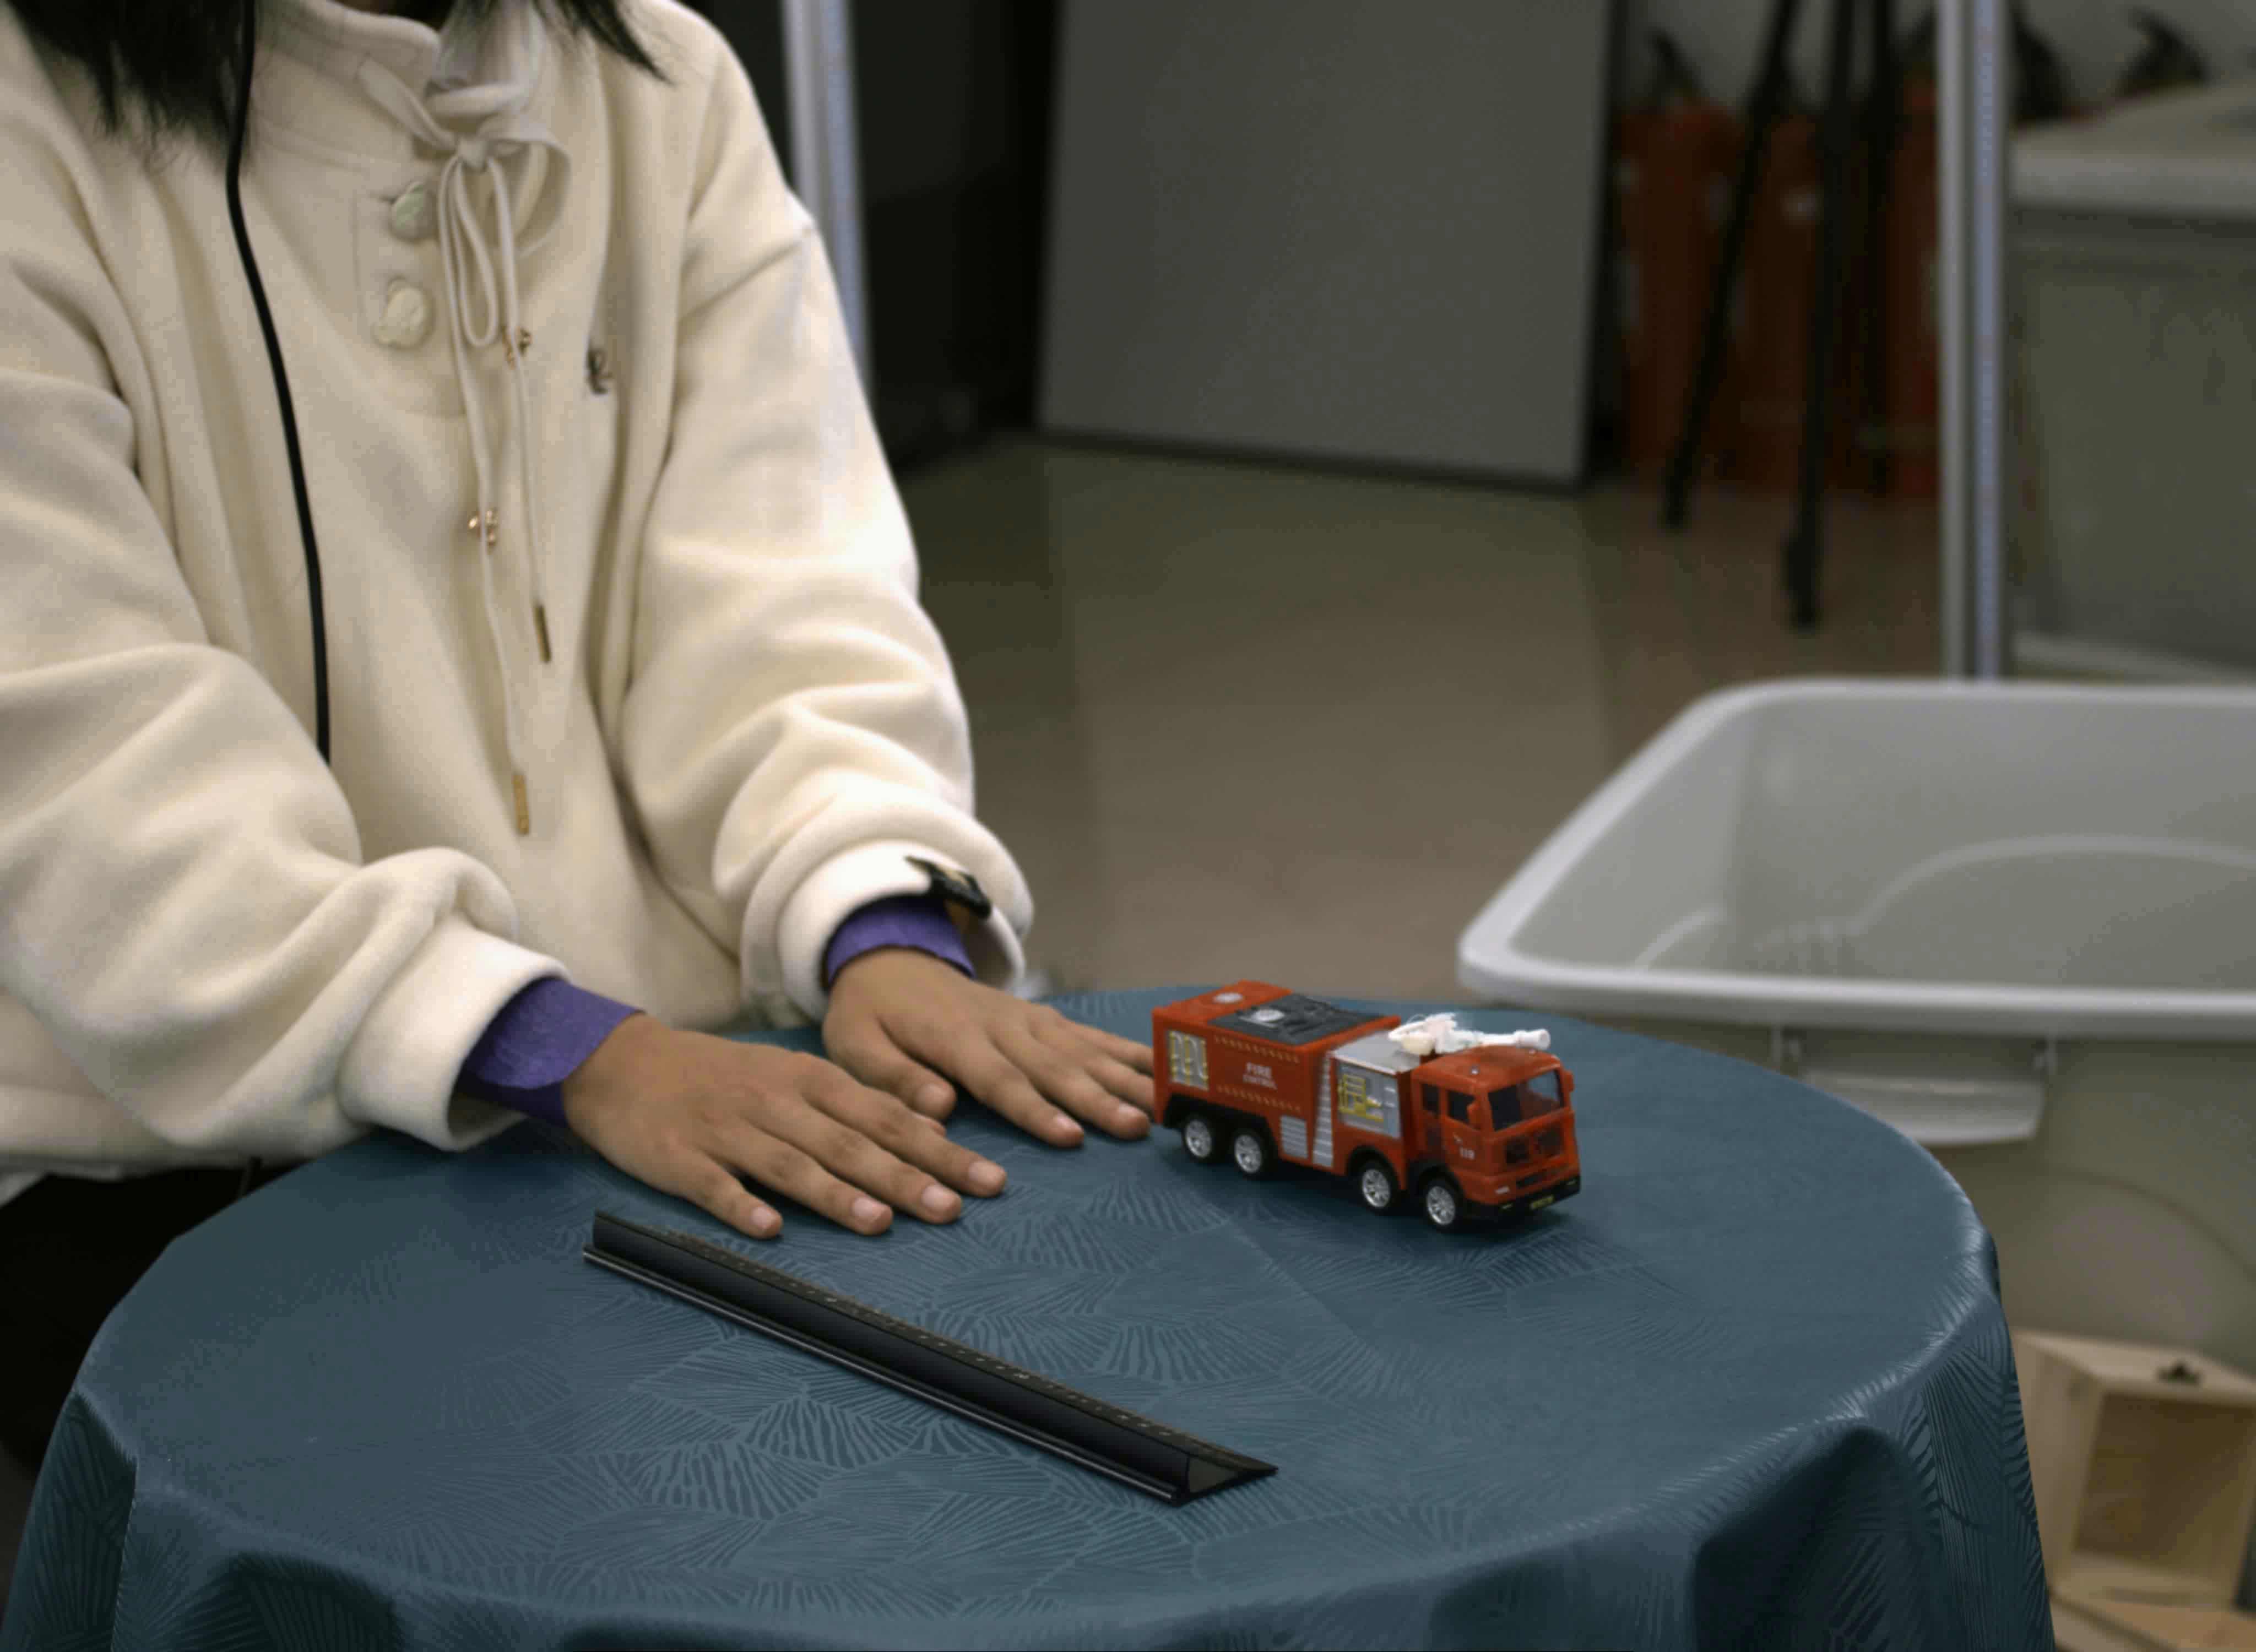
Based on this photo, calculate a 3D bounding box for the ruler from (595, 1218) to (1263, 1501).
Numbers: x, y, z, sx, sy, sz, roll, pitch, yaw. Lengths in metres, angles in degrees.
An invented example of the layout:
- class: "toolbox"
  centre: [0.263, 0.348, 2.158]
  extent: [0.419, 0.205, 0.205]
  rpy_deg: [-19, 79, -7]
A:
- class: "ruler"
  centre: [-0.066, 0.154, 1.622]
  extent: [0.038, 0.017, 0.316]
  rpy_deg: [-9, 13, -35]

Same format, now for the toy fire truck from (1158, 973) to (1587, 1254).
- class: "toy fire truck"
  centre: [0.078, 0.089, 1.753]
  extent: [0.053, 0.071, 0.169]
  rpy_deg: [-17, 17, -38]
